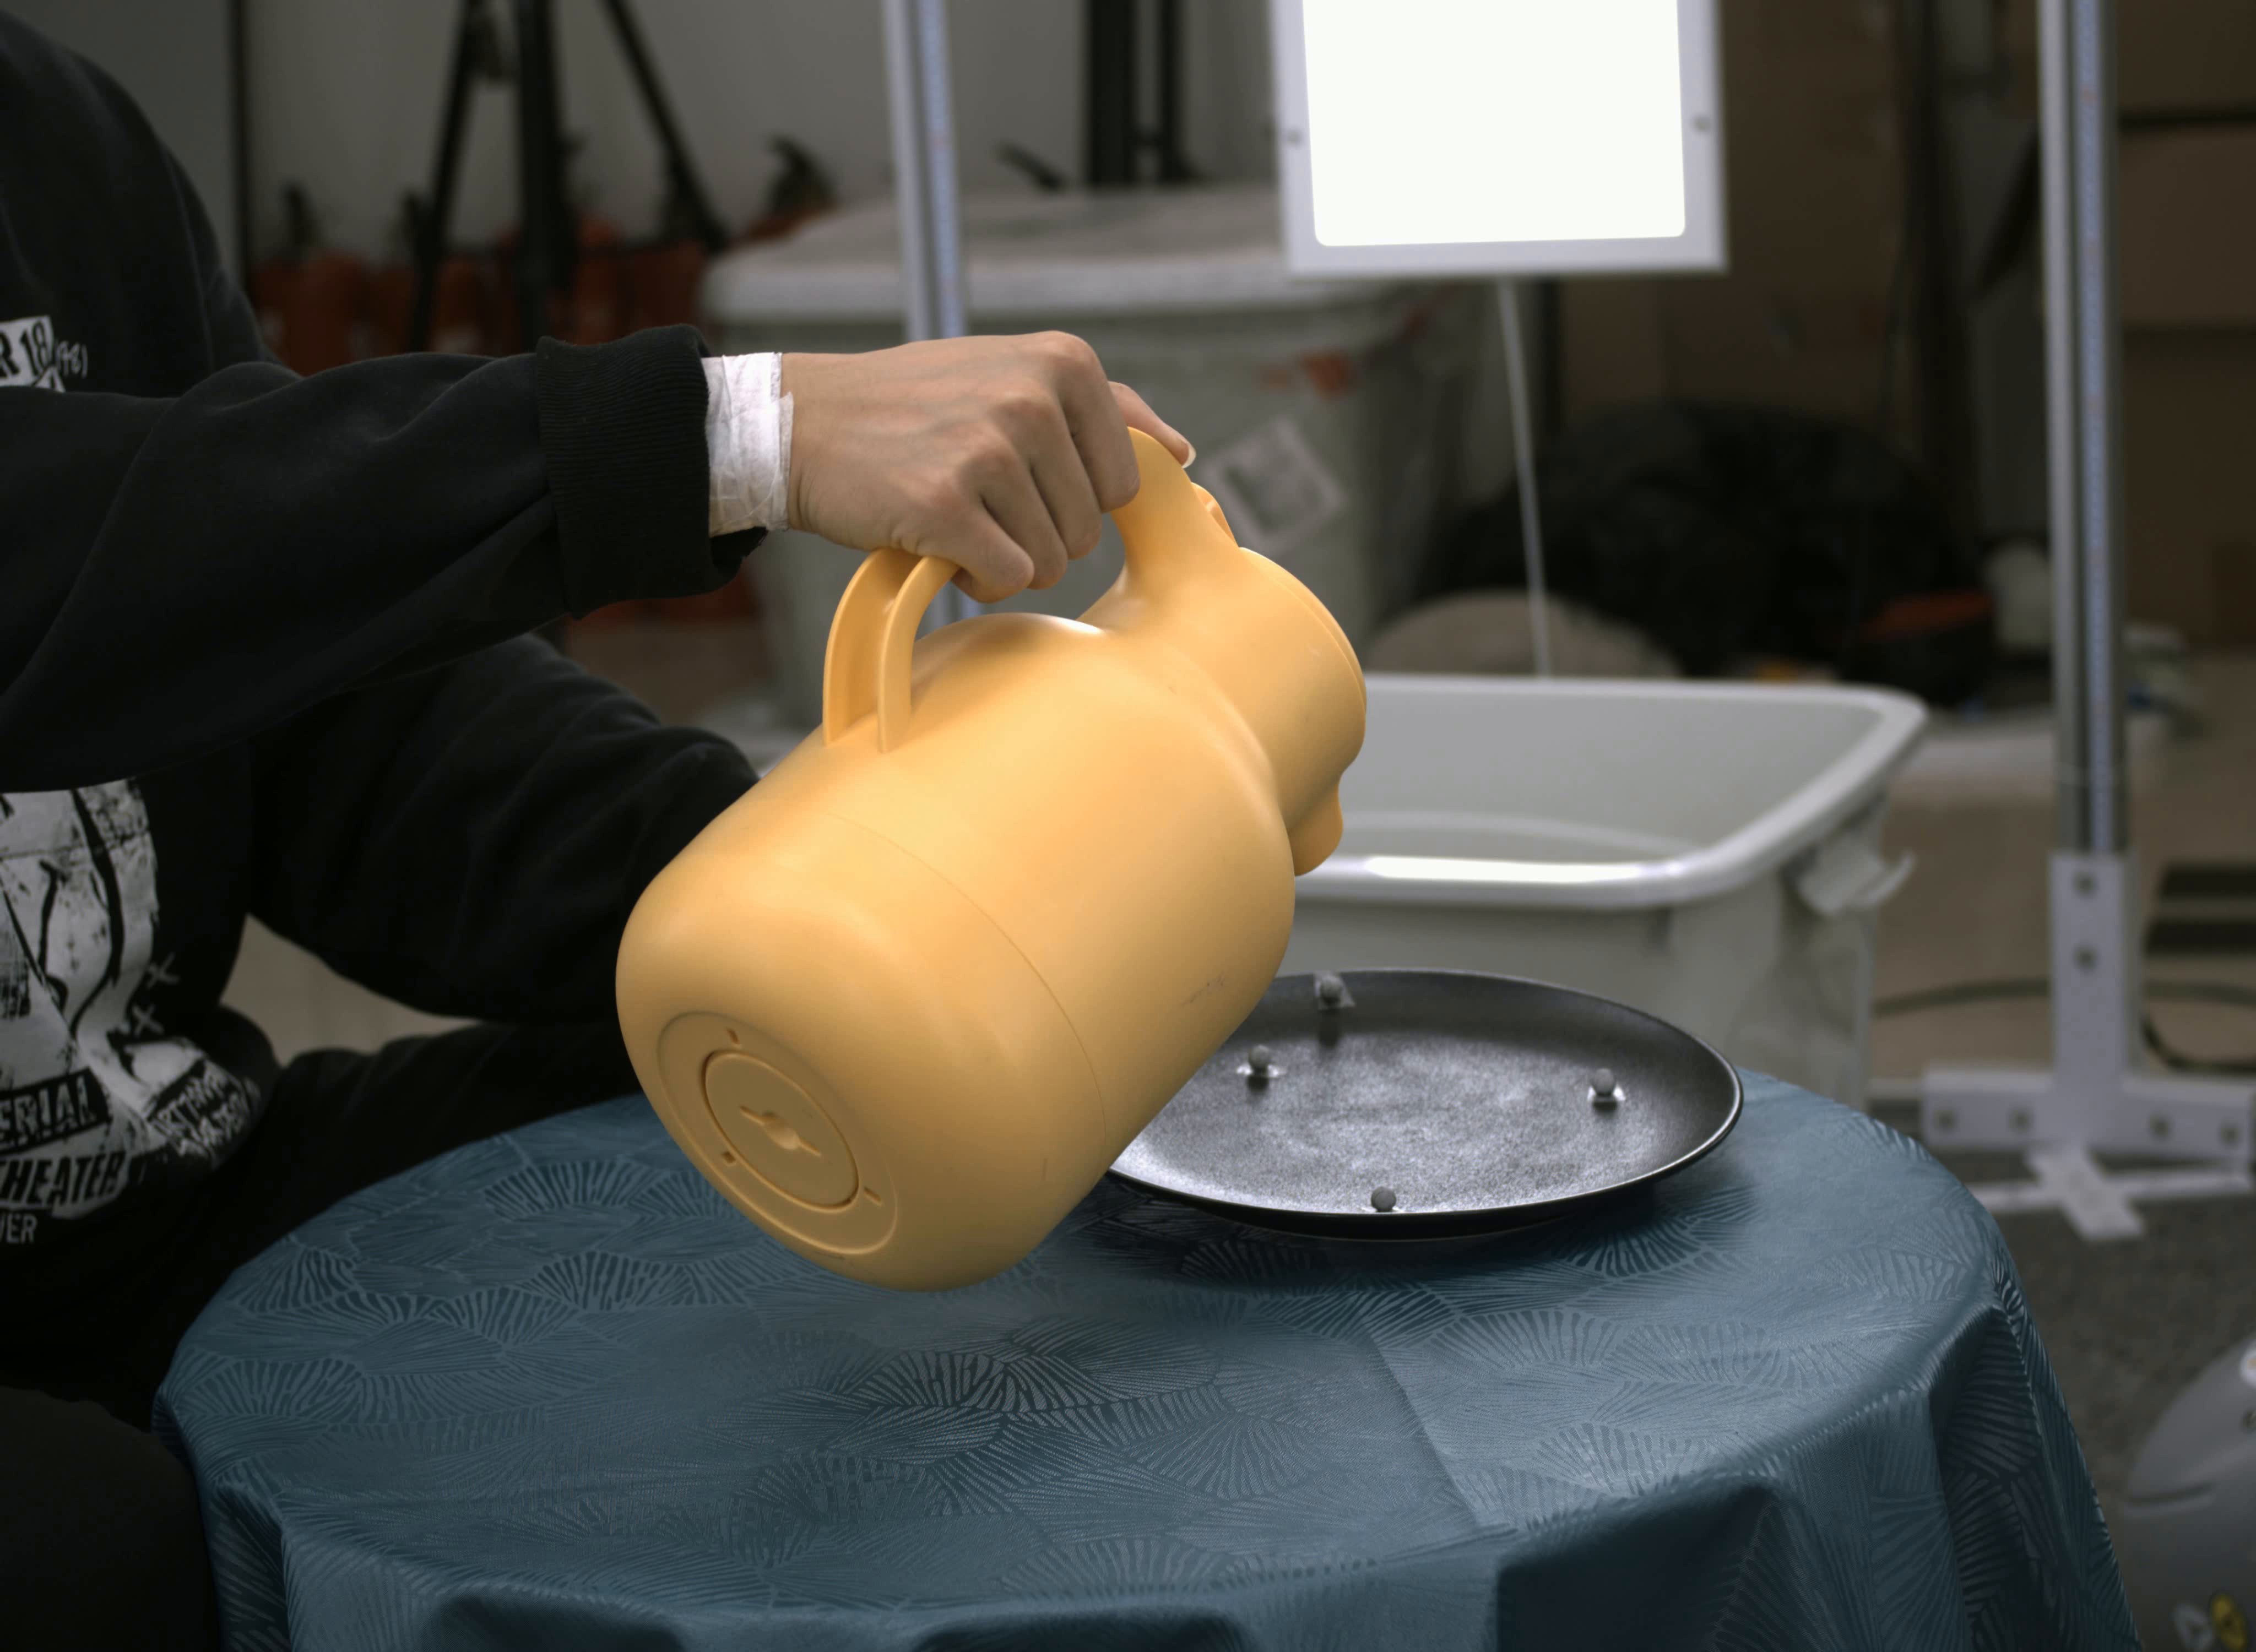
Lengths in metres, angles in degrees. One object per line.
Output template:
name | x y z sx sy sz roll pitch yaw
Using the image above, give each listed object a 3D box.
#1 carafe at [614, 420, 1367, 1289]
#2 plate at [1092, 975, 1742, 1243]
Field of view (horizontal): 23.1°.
carafe | -0.039 -0.001 1.722 0.167 0.201 0.255 3 38 46
plate | 0.090 0.100 1.895 0.243 0.023 0.244 -2 17 -1
